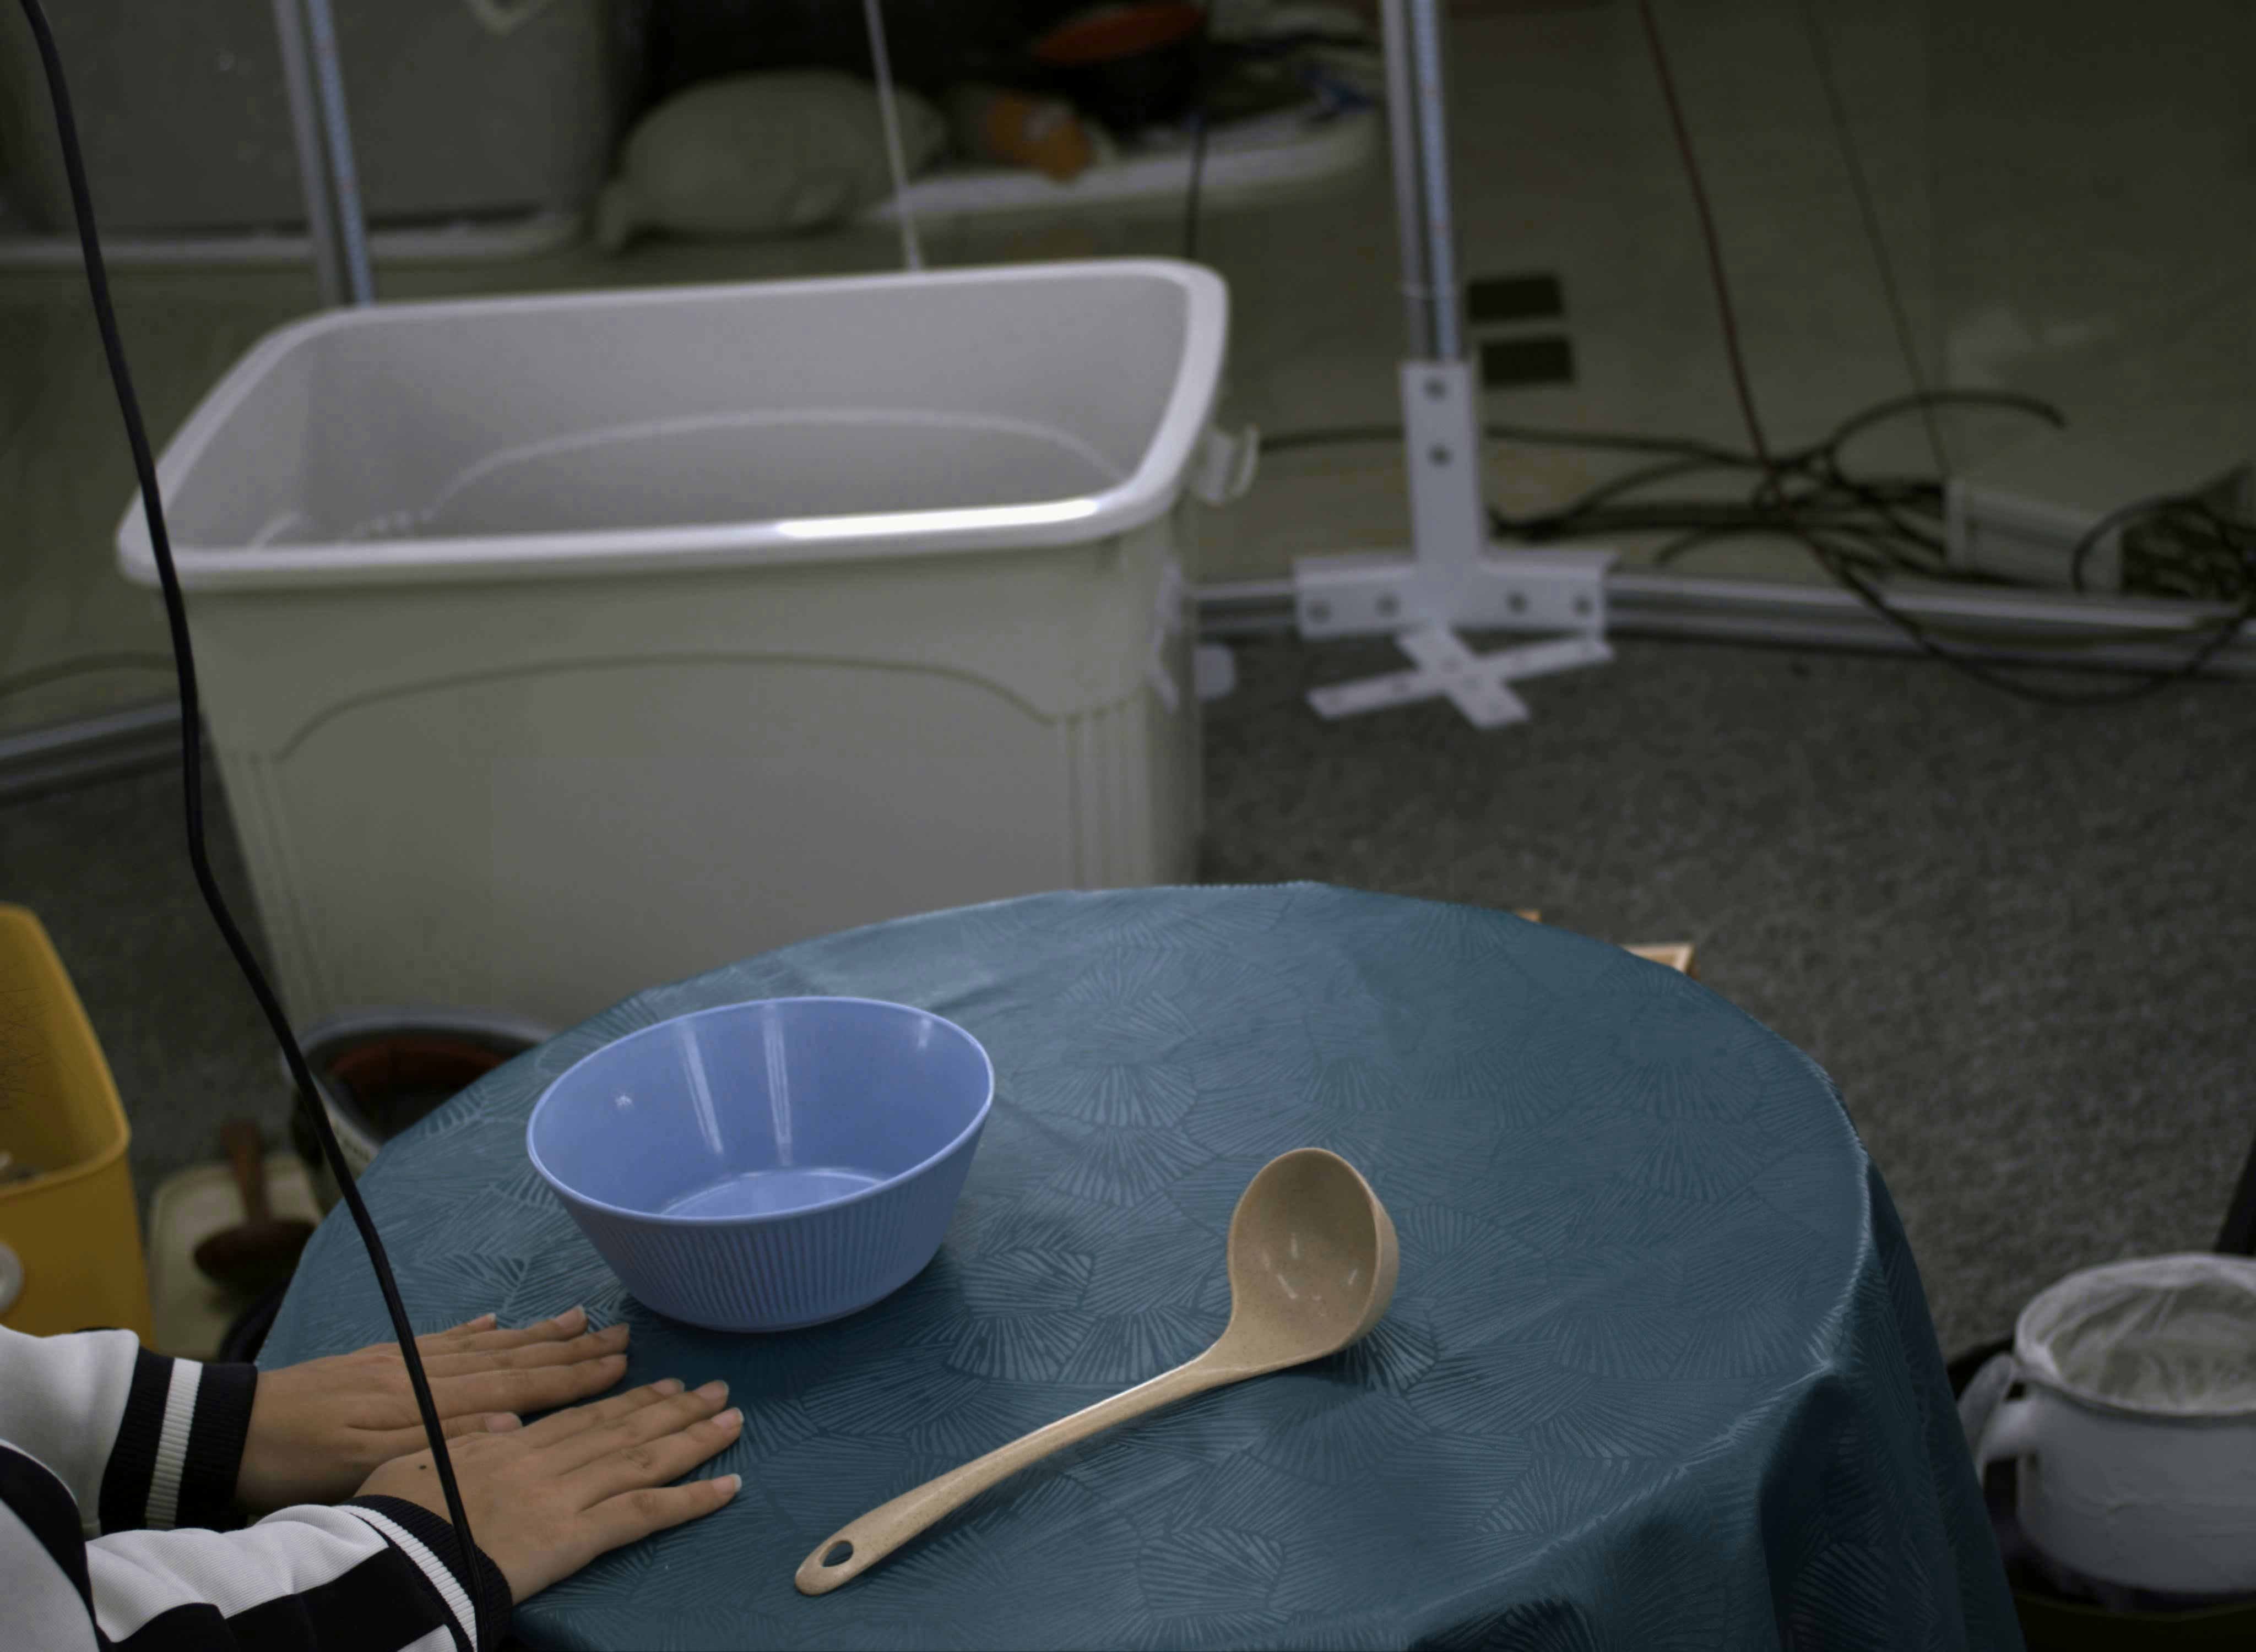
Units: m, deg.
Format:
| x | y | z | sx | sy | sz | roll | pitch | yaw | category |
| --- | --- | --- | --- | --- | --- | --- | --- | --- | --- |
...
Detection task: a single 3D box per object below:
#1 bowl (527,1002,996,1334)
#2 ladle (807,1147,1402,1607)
| x | y | z | sx | sy | sz | roll | pitch | yaw | category |
| --- | --- | --- | --- | --- | --- | --- | --- | --- | --- |
| -0.132 | 0.133 | 2.110 | 0.176 | 0.071 | 0.173 | -6 | 24 | 3 | bowl |
| -0.010 | 0.187 | 1.962 | 0.252 | 0.074 | 0.071 | -25 | 44 | -34 | ladle |
